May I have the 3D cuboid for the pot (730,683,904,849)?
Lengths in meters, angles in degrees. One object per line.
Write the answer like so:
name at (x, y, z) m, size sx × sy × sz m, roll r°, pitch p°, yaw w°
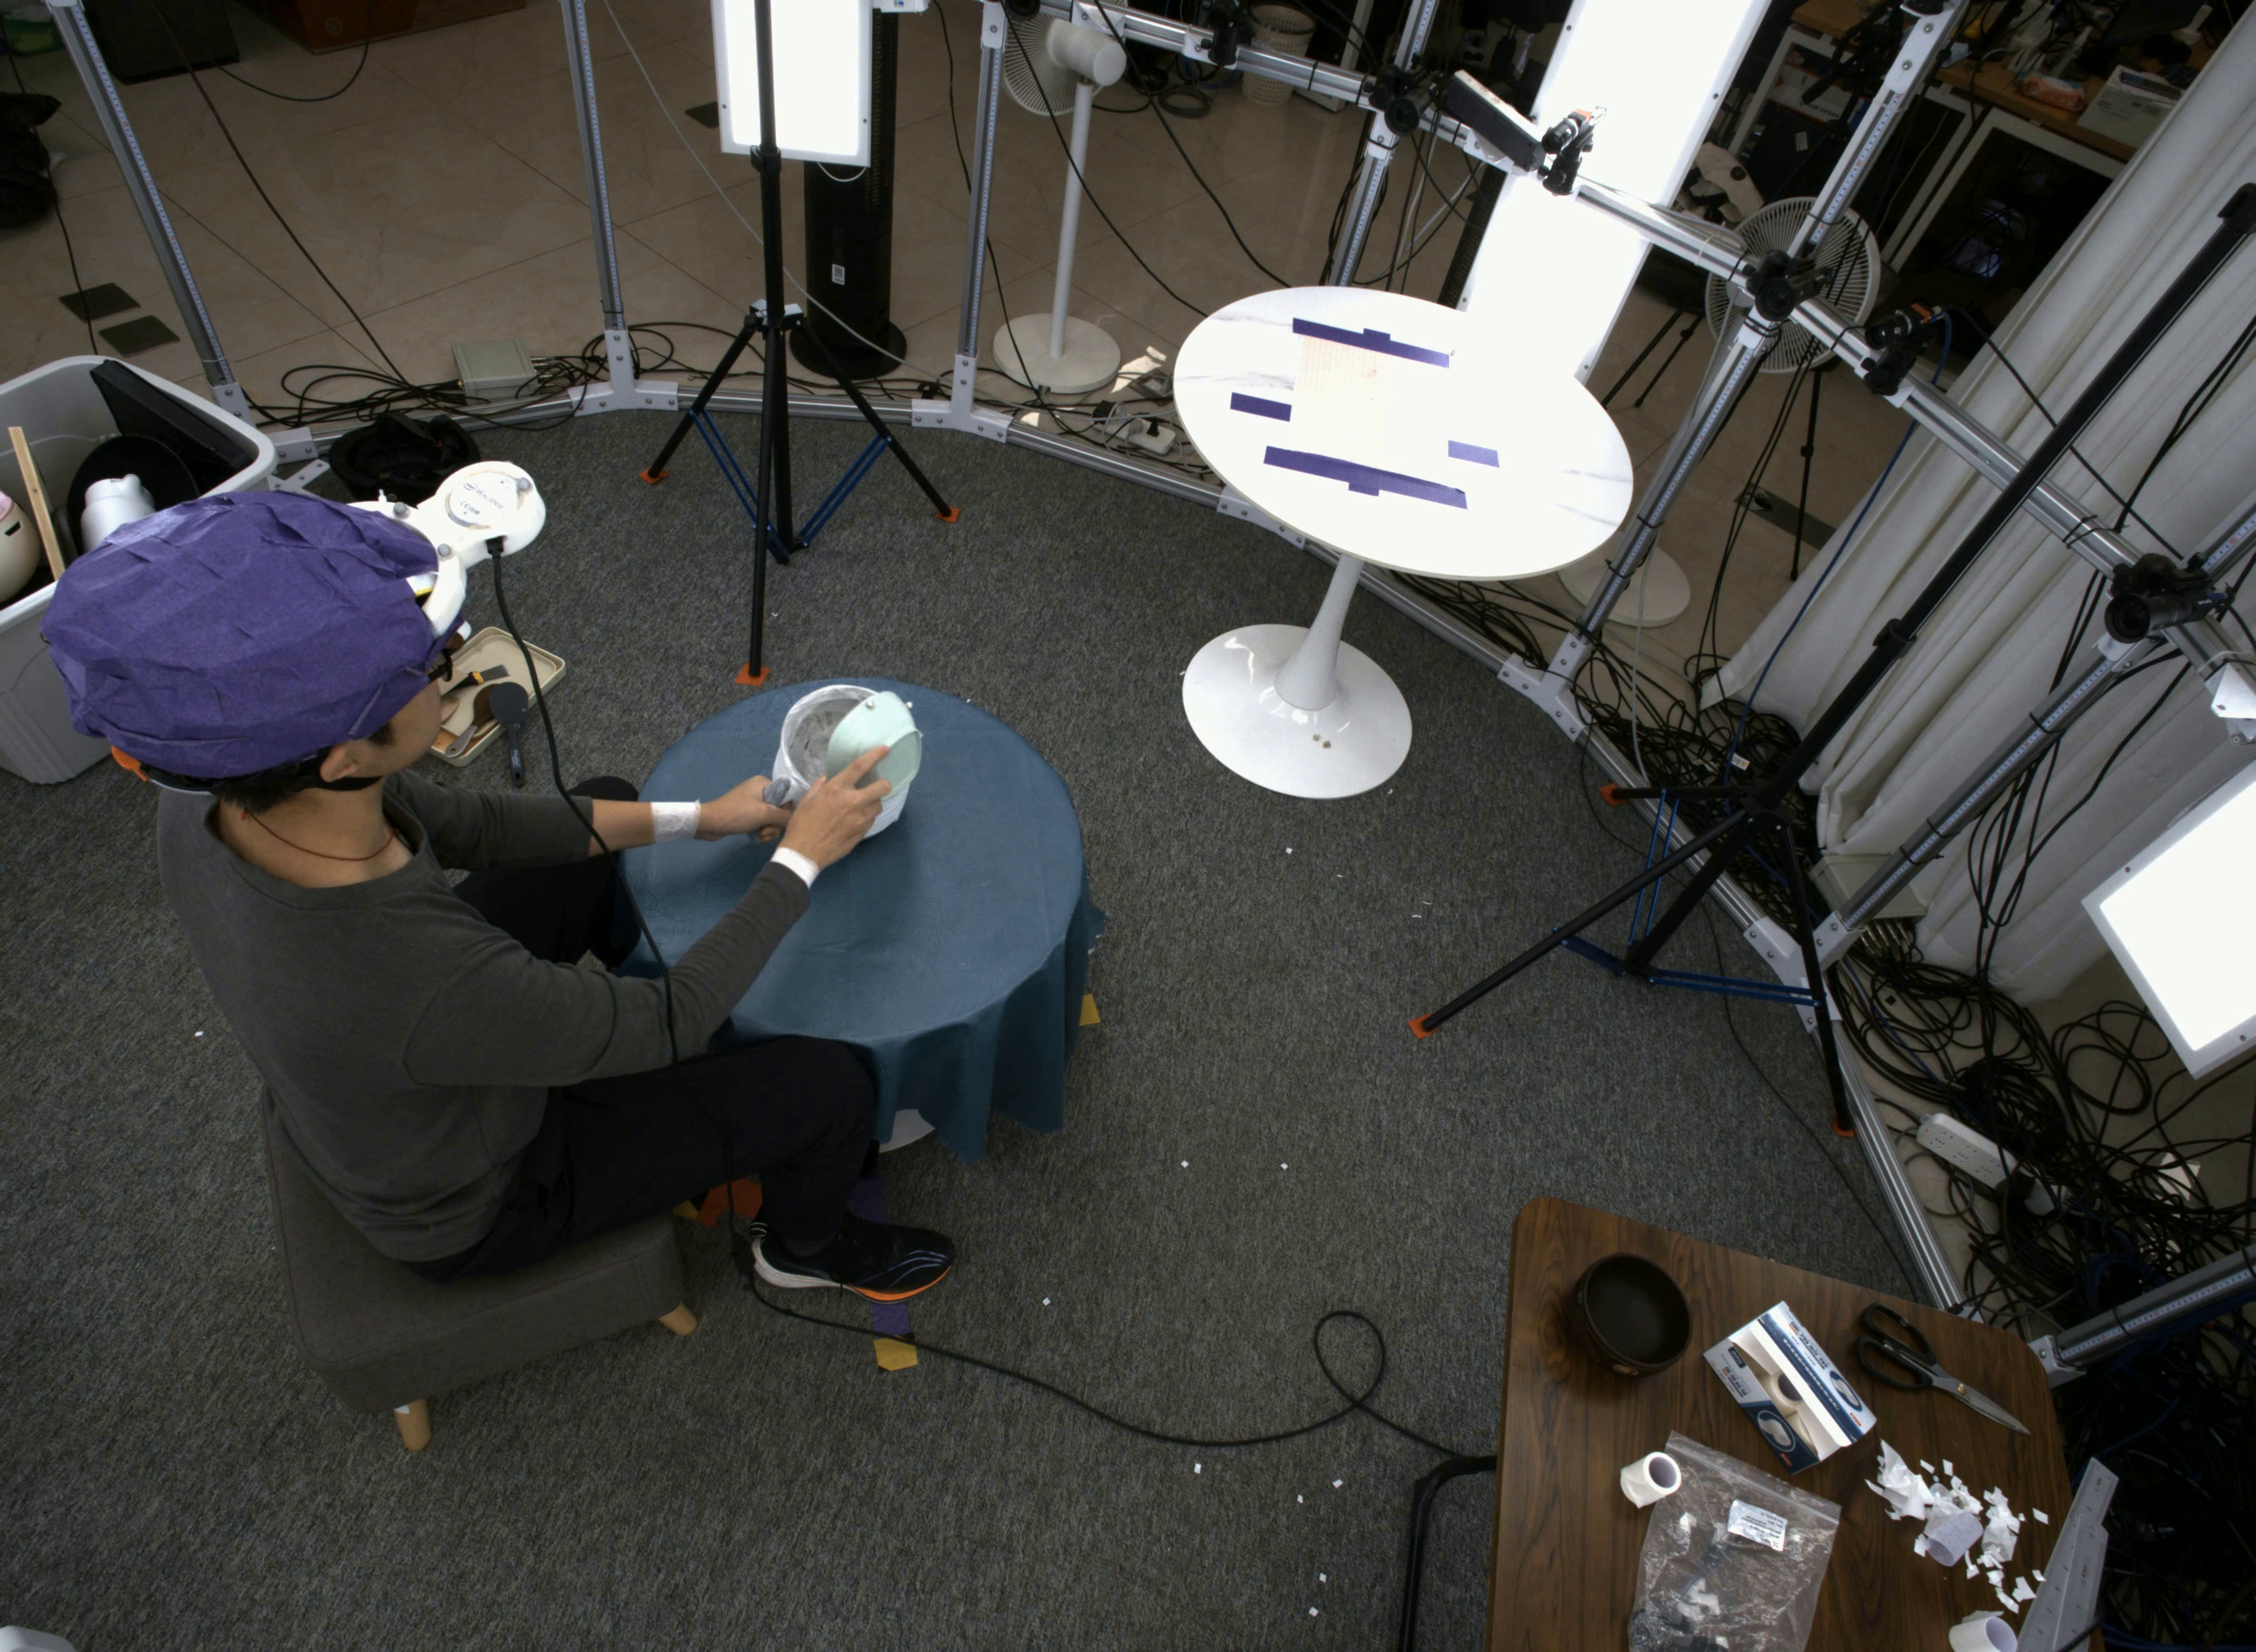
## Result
pot at (-0.410, -0.061, 1.682) m, size 0.177 × 0.137 × 0.234 m, roll 48°, pitch 57°, yaw 7°

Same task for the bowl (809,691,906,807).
bowl at (-0.321, -0.084, 1.584) m, size 0.057 × 0.155 × 0.151 m, roll 28°, pitch 52°, yaw 19°
